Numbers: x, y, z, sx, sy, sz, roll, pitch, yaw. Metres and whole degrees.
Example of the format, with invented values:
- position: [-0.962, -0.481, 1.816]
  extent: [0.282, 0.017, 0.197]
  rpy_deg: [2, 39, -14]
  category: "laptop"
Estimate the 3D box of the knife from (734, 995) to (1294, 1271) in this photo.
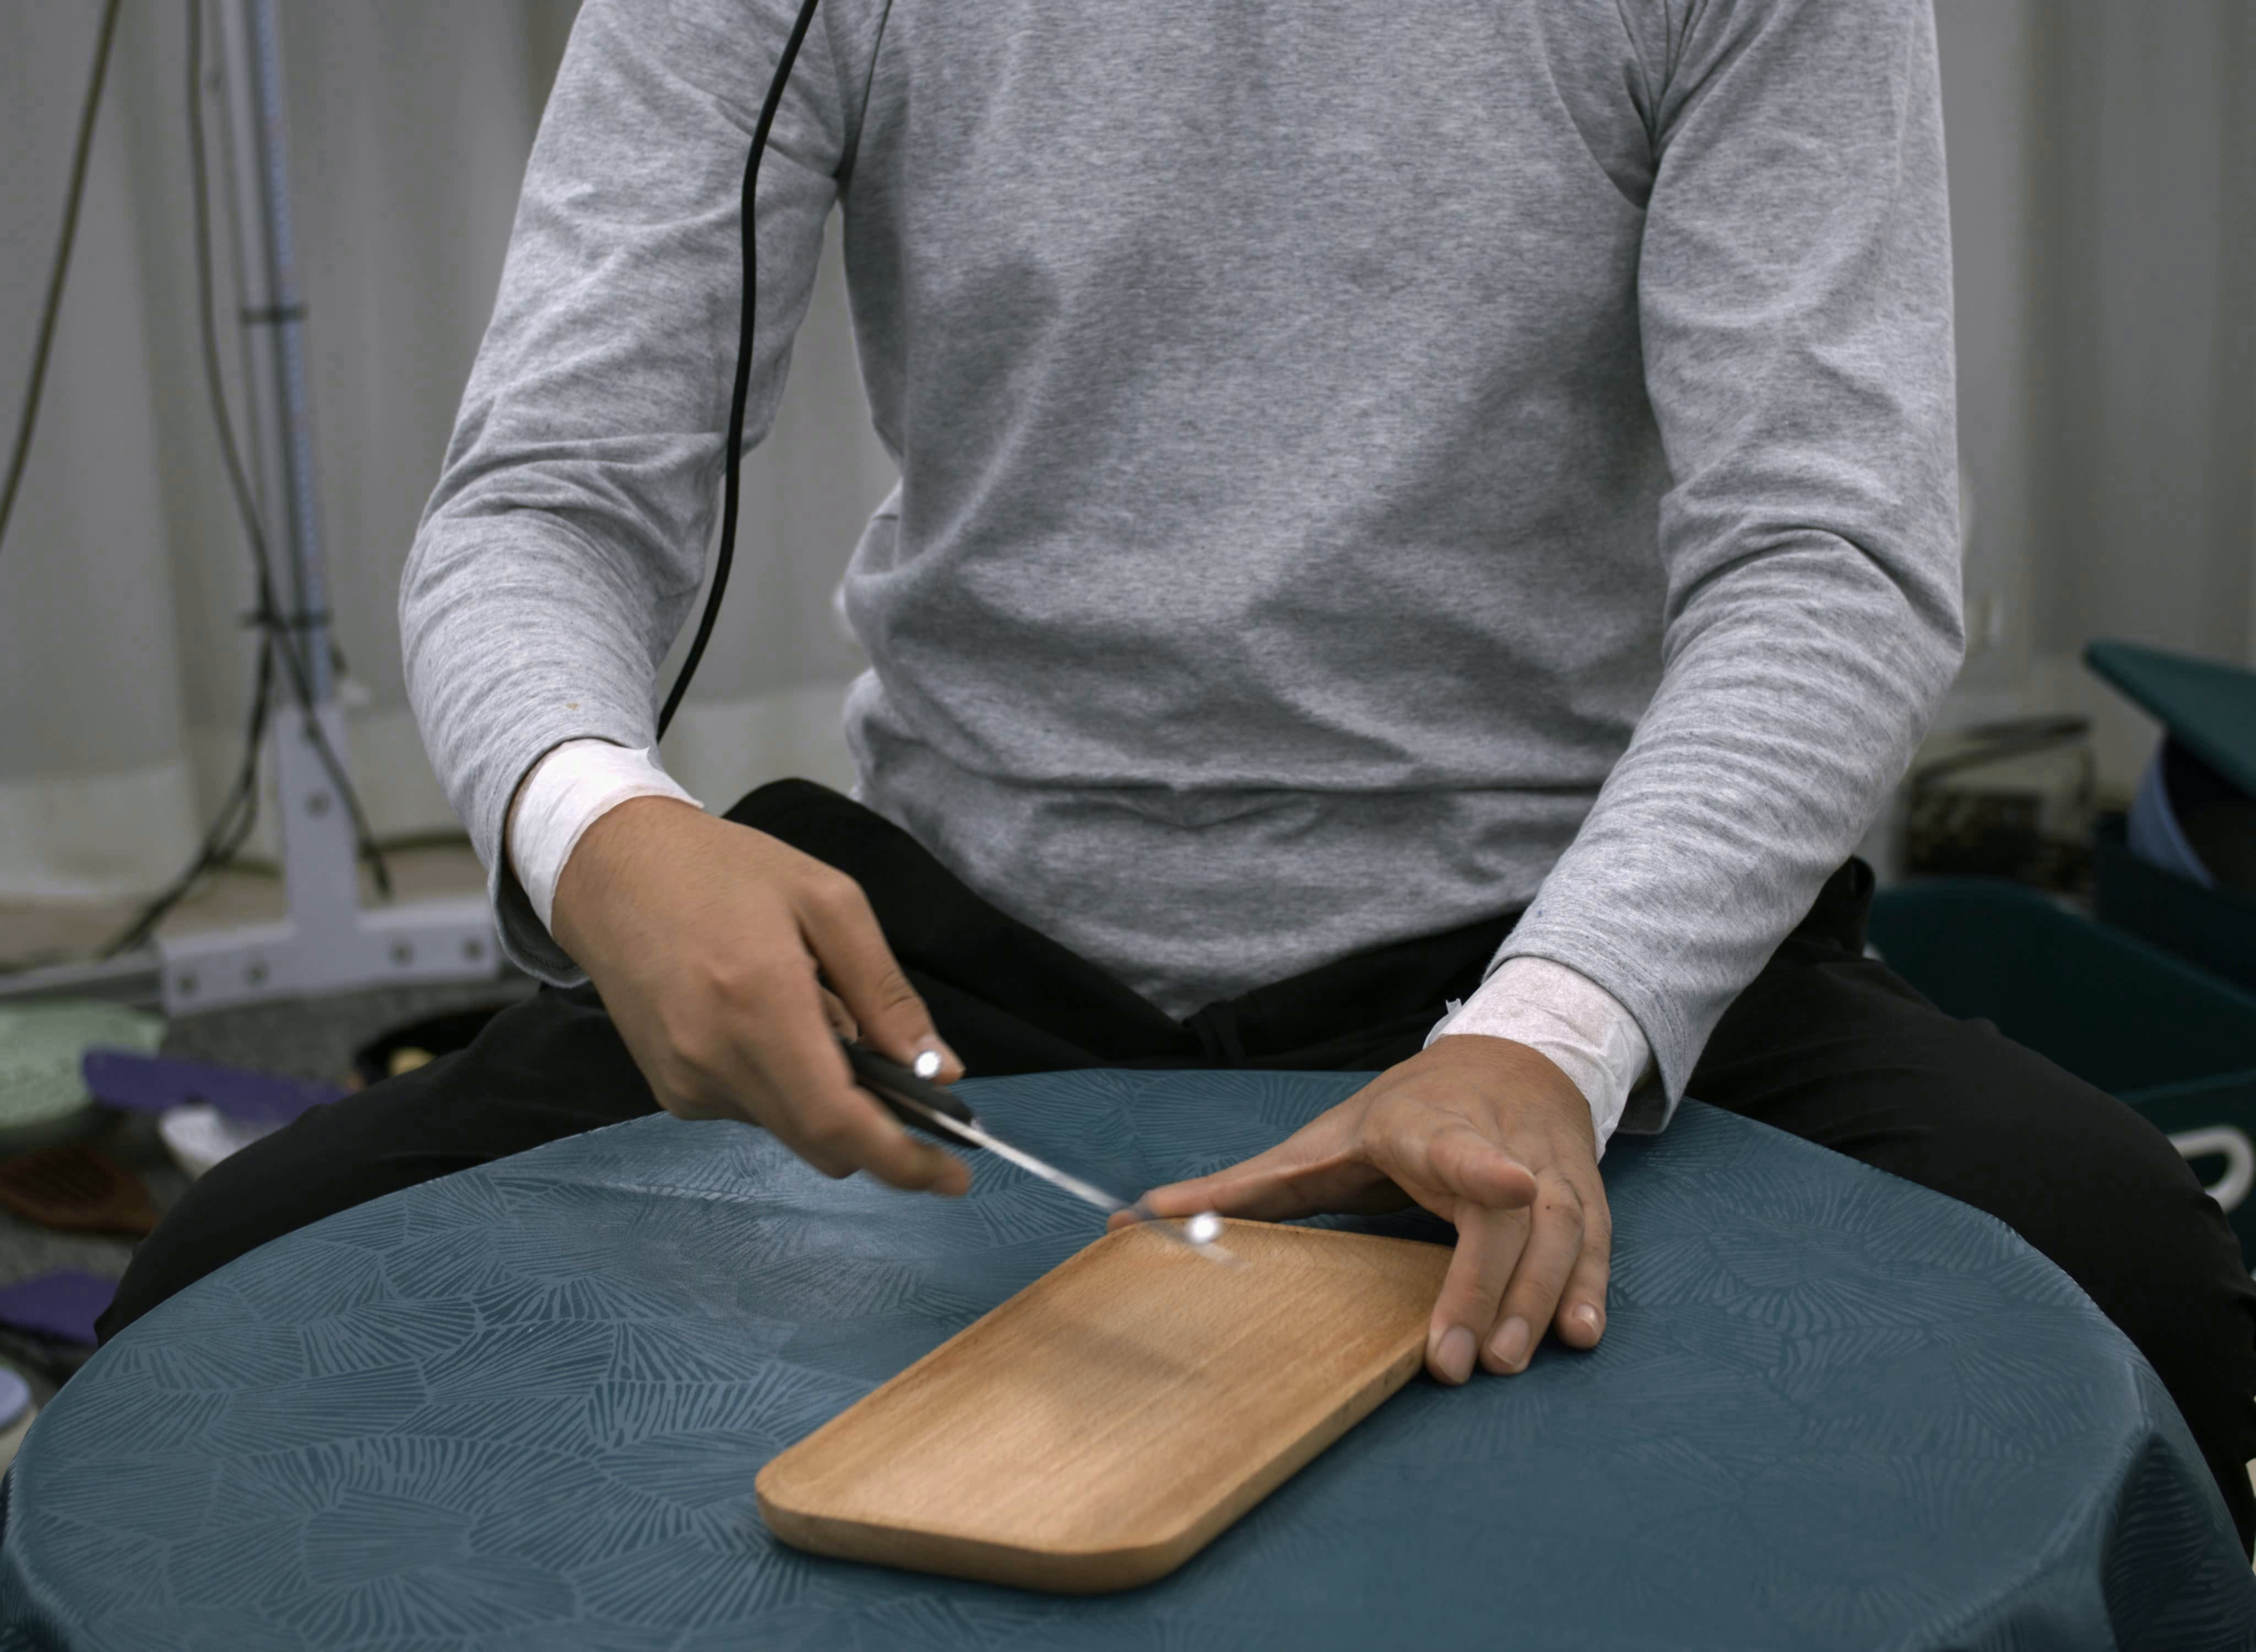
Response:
- position: [-0.038, 0.089, 1.590]
  extent: [0.240, 0.016, 0.024]
  rpy_deg: [22, 1, 43]
  category: "knife"

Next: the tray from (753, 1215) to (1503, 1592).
- position: [0.005, 0.158, 1.523]
  extent: [0.131, 0.023, 0.251]
  rpy_deg: [8, 17, 27]
  category: "tray"
